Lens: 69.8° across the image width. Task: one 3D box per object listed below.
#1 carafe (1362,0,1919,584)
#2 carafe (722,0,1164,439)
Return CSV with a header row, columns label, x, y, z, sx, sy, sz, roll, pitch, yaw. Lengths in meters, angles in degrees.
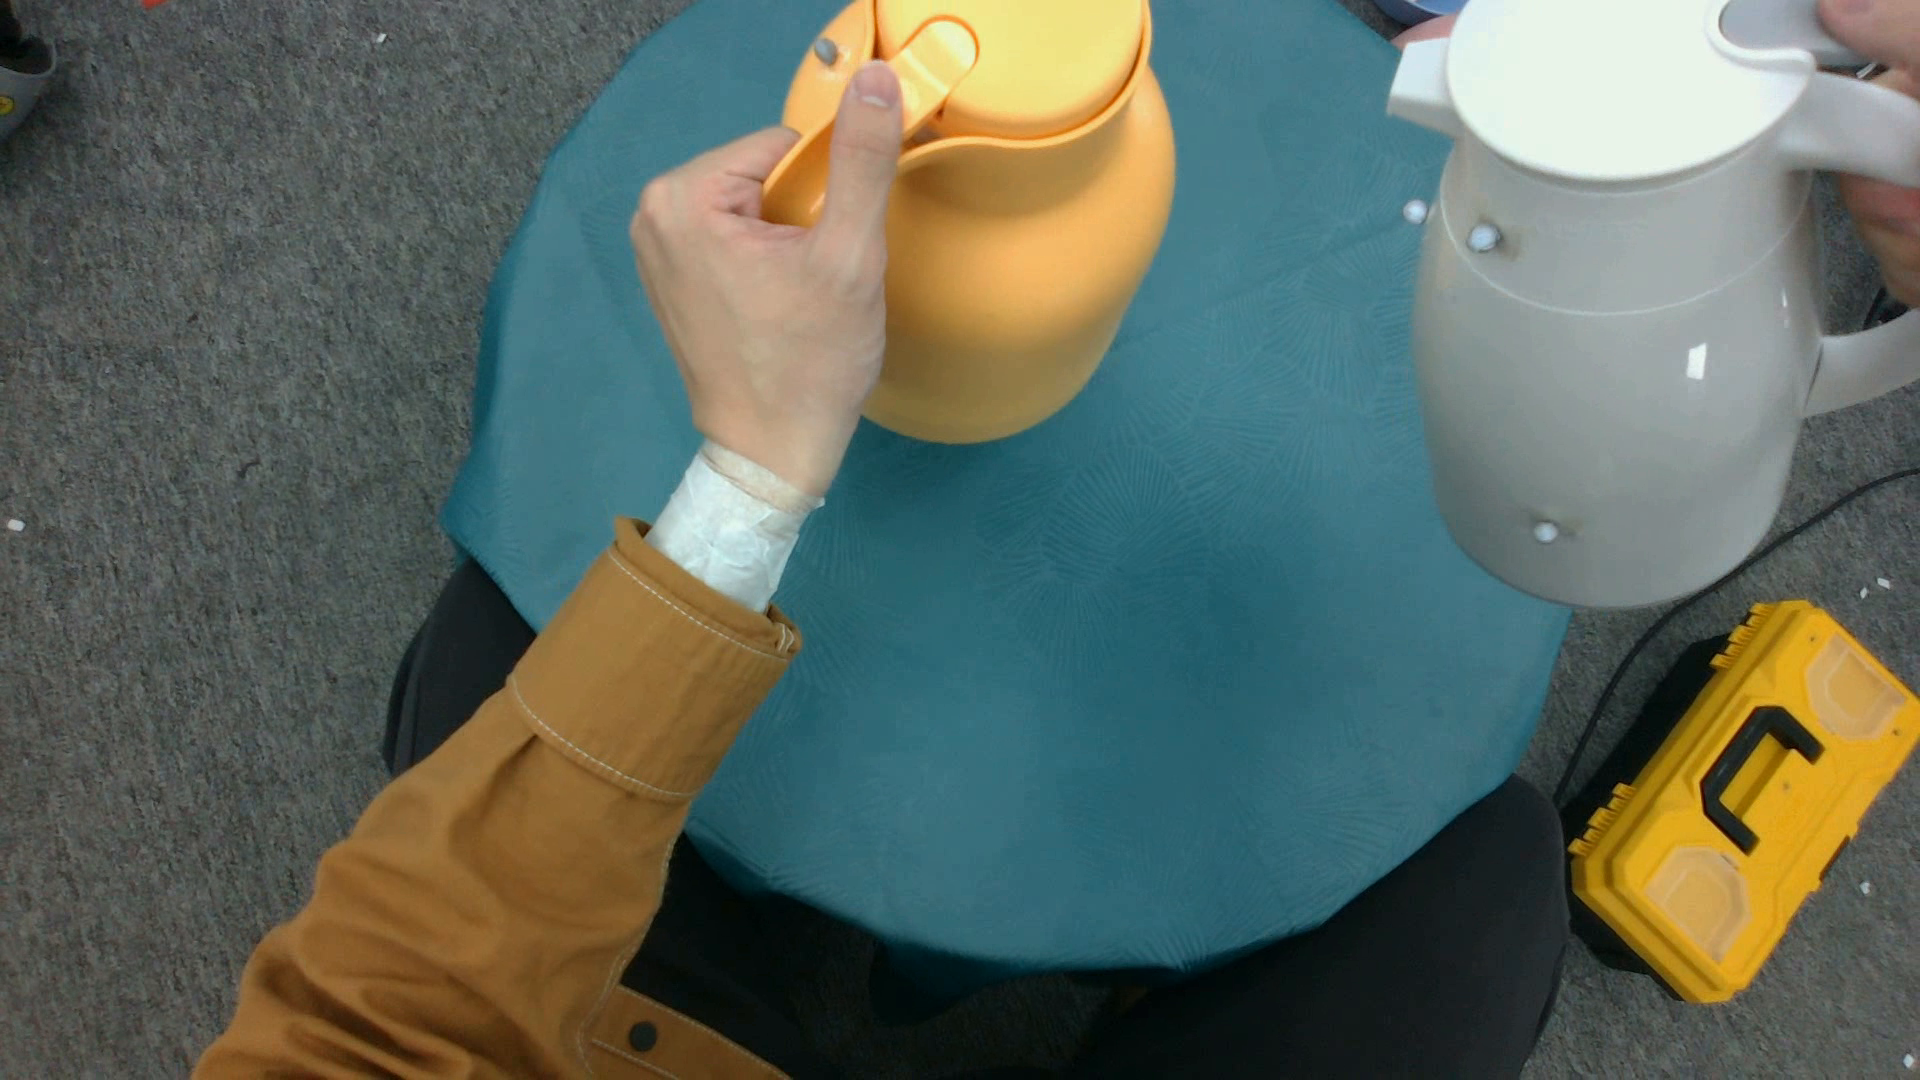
label,x,y,z,sx,sy,sz,roll,pitch,yaw
carafe,0.230,-0.091,0.455,0.167,0.248,0.133,9,69,27
carafe,-0.014,-0.140,0.567,0.203,0.259,0.163,-41,83,-16
